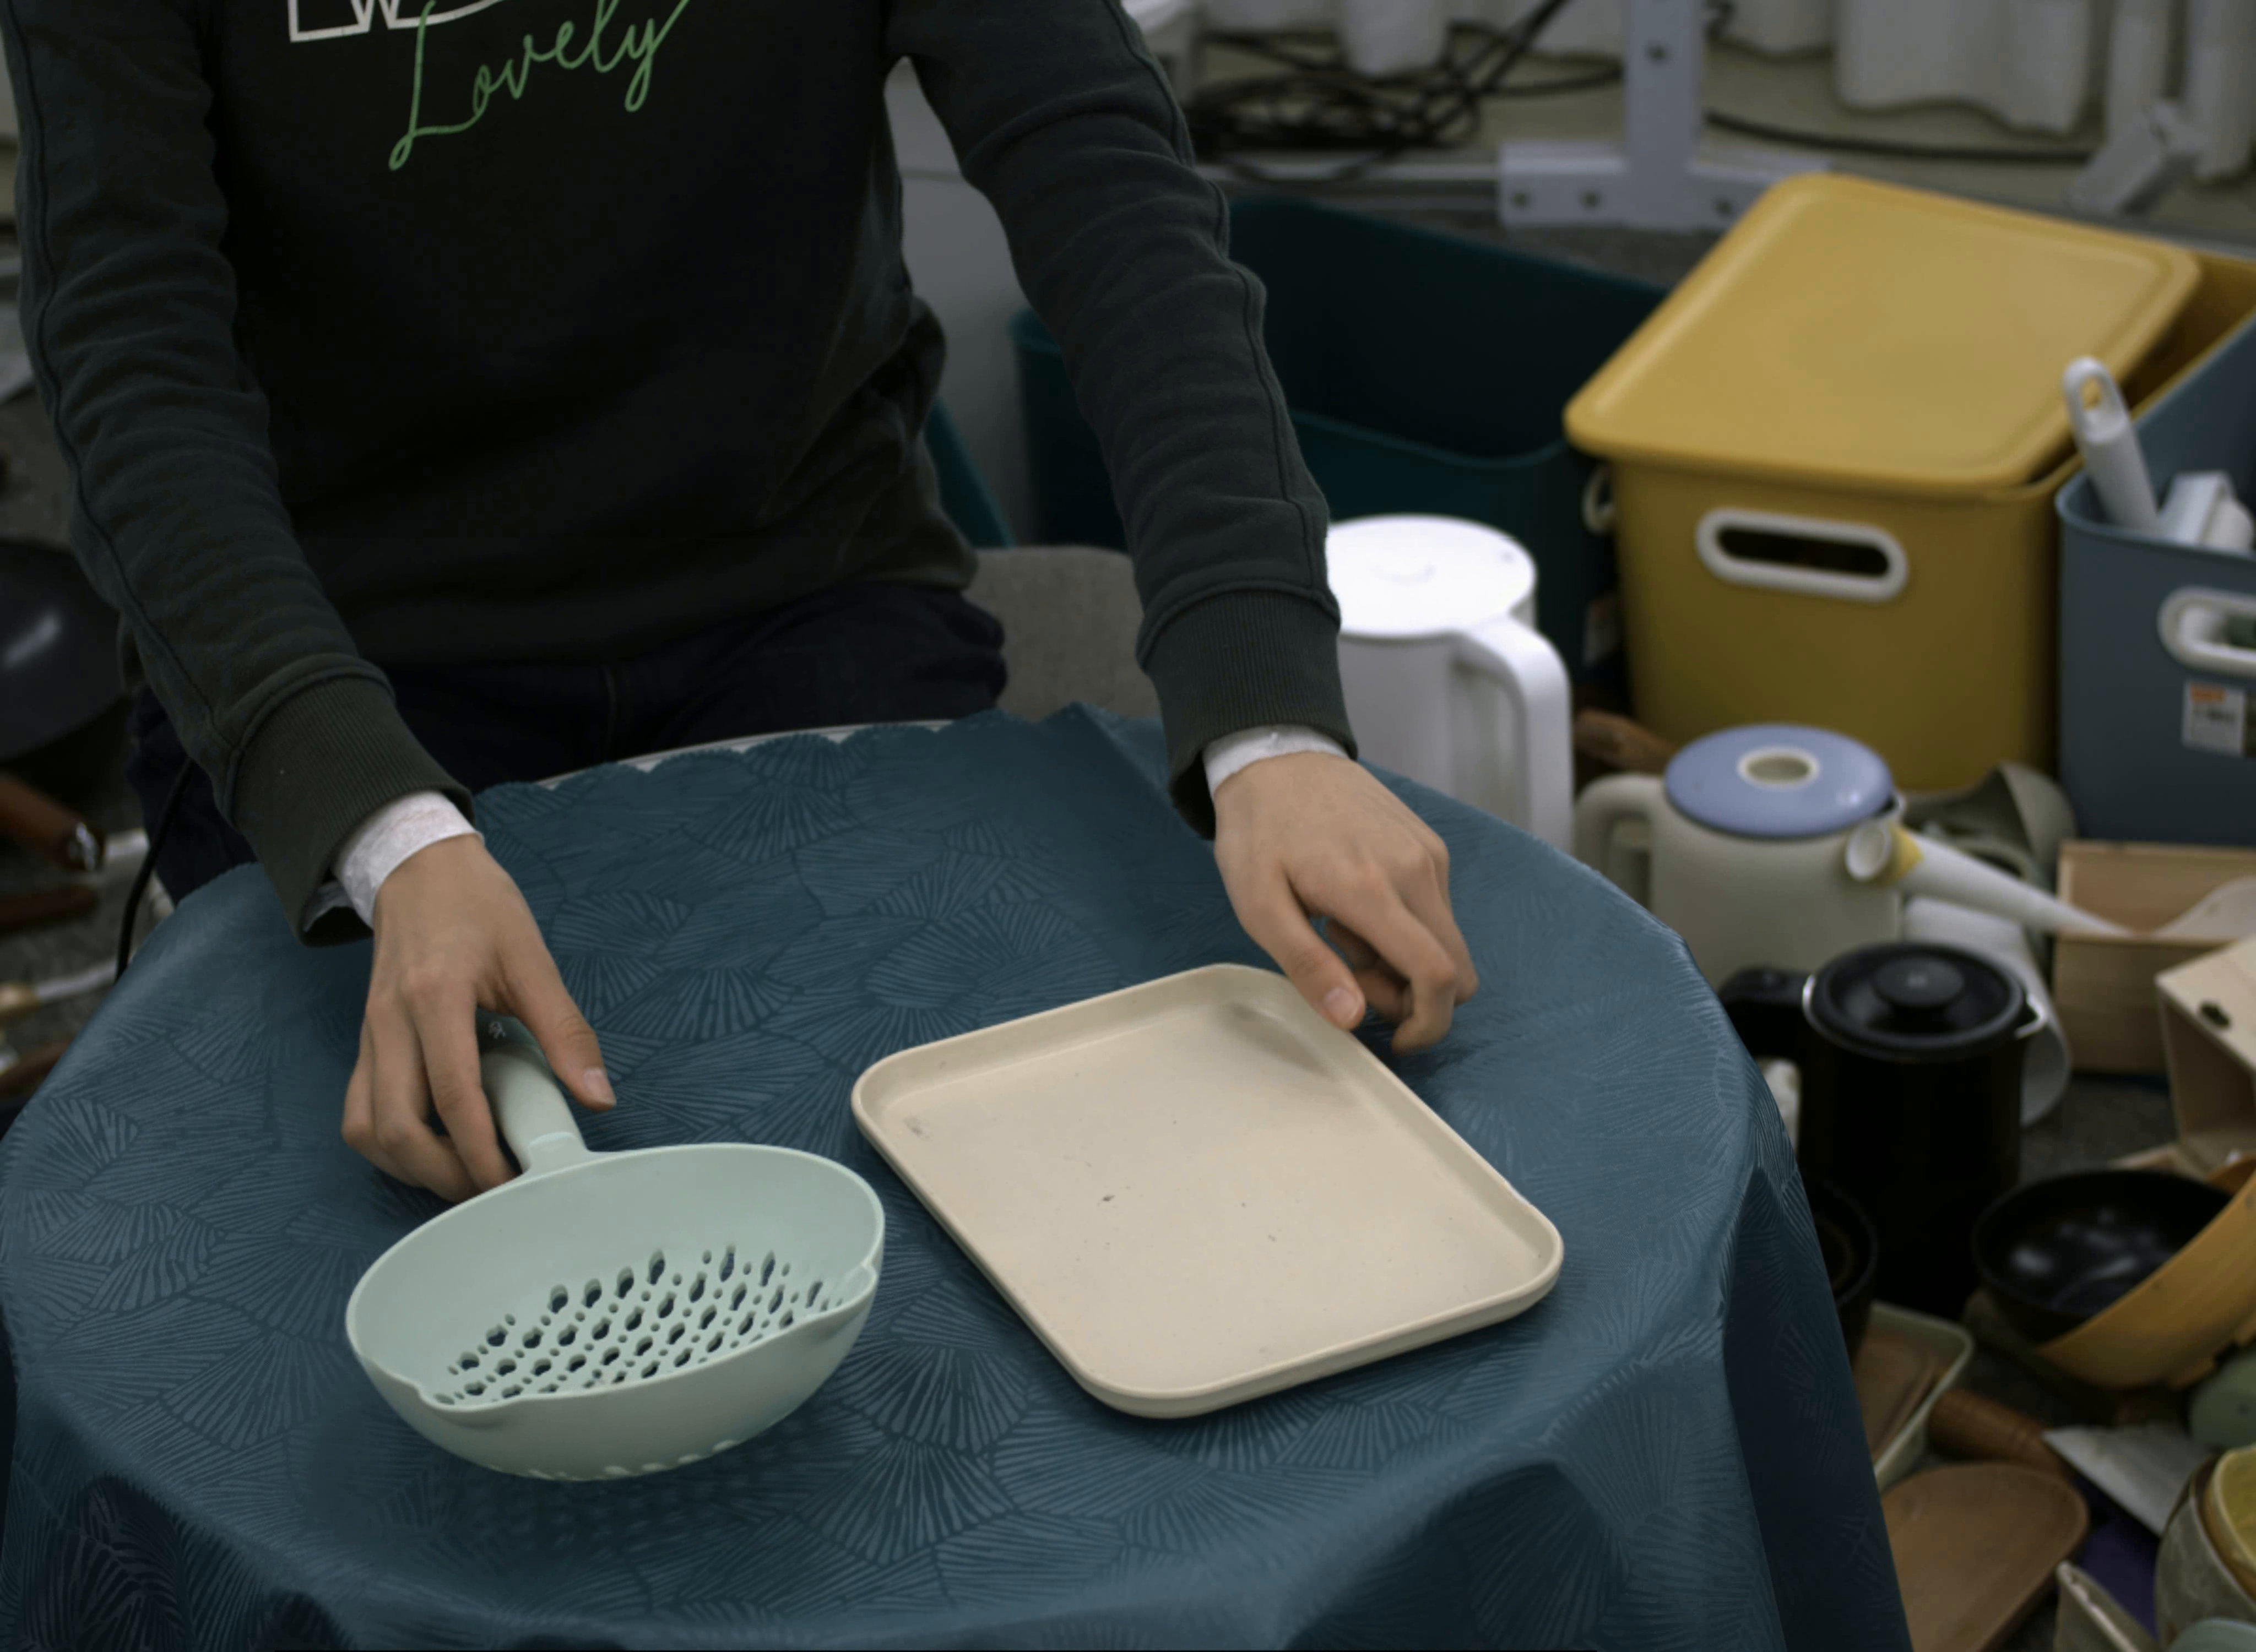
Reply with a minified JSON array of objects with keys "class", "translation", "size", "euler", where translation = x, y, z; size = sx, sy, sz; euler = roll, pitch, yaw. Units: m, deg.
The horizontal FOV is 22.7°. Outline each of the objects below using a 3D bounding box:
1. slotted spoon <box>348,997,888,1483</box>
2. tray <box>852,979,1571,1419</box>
[{"class":"slotted spoon","translation":[-0.181,0.117,1.818],"size":[0.169,0.074,0.362],"euler":[-13,29,-12]},{"class":"tray","translation":[0.024,0.120,1.843],"size":[0.172,0.017,0.241],"euler":[-14,28,-22]}]
